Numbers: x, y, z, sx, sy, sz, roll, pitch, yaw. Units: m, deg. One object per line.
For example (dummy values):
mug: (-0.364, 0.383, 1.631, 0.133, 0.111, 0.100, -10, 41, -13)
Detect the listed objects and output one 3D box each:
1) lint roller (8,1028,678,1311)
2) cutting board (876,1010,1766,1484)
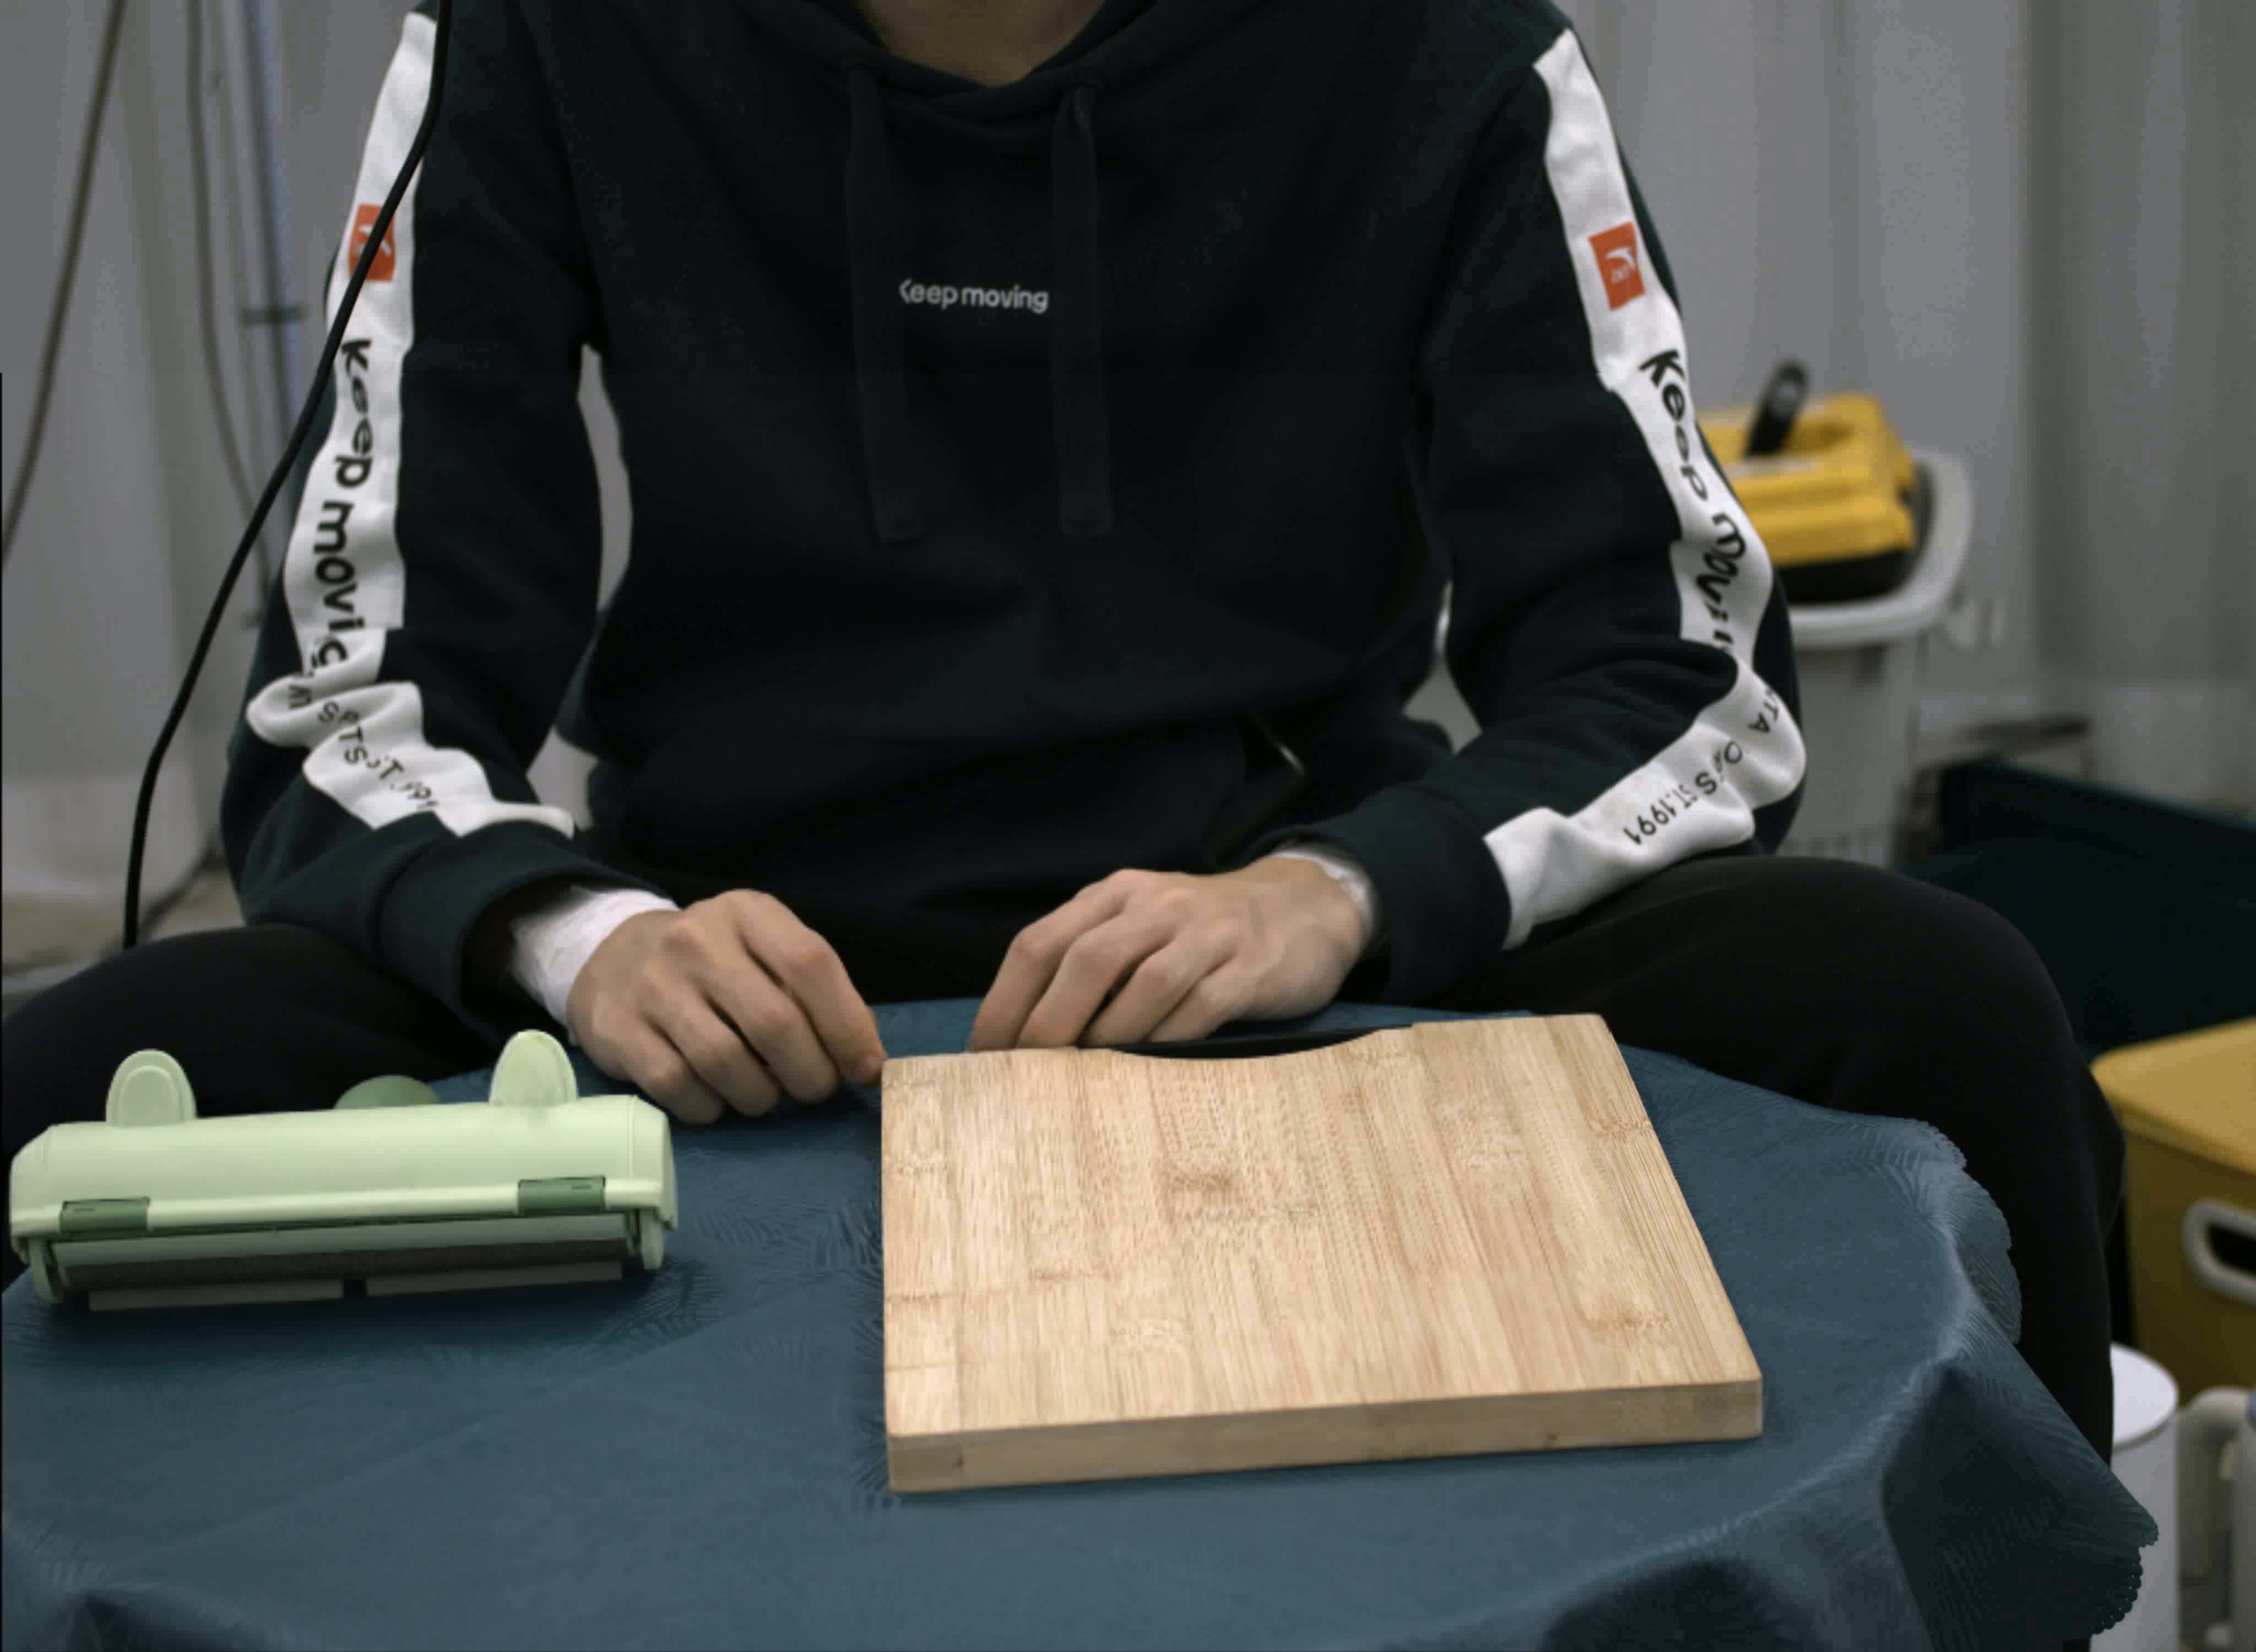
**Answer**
lint roller: (-0.237, 0.090, 1.703, 0.198, 0.082, 0.185, -3, 18, 0)
cutting board: (0.047, 0.122, 1.648, 0.250, 0.023, 0.351, -3, 15, -3)
